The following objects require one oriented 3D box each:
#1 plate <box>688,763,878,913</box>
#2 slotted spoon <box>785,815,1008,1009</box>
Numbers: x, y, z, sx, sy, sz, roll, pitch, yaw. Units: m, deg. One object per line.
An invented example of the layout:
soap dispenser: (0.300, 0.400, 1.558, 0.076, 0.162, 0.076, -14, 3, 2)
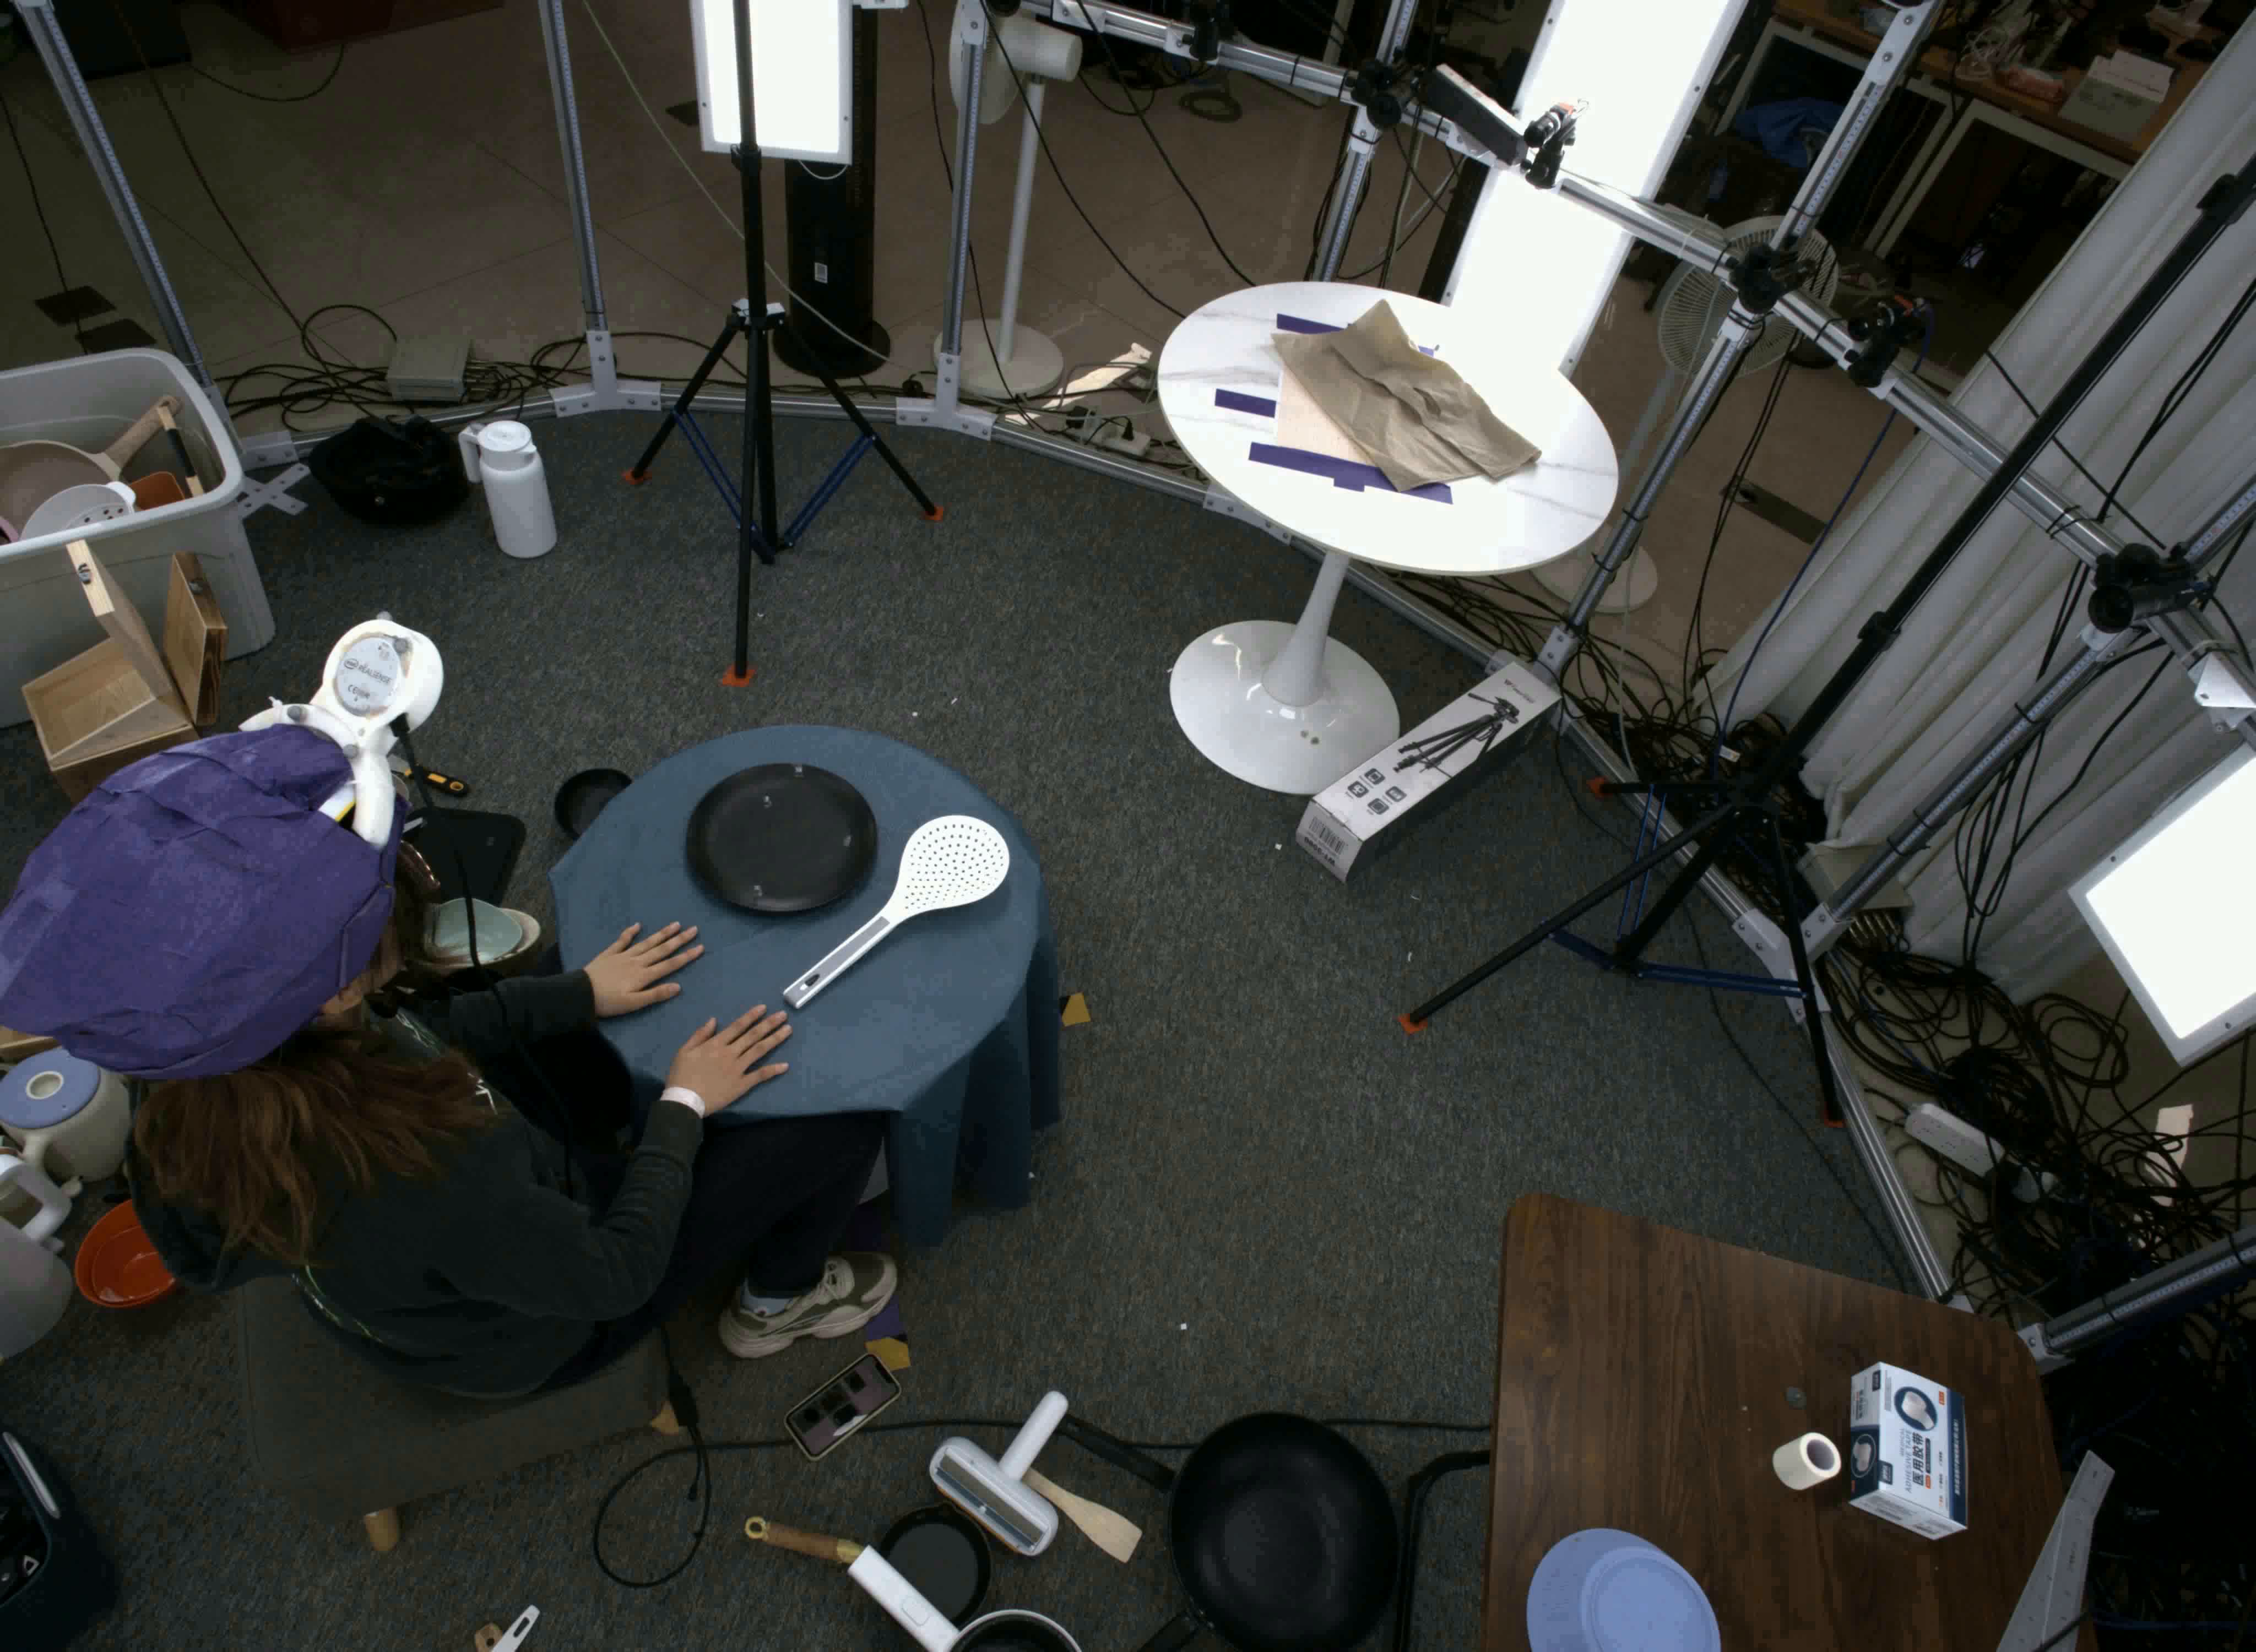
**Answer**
plate: (-0.450, 0.016, 1.695, 0.244, 0.024, 0.240, 8, 53, -9)
slotted spoon: (-0.295, 0.108, 1.652, 0.133, 0.047, 0.350, 38, 55, 17)
